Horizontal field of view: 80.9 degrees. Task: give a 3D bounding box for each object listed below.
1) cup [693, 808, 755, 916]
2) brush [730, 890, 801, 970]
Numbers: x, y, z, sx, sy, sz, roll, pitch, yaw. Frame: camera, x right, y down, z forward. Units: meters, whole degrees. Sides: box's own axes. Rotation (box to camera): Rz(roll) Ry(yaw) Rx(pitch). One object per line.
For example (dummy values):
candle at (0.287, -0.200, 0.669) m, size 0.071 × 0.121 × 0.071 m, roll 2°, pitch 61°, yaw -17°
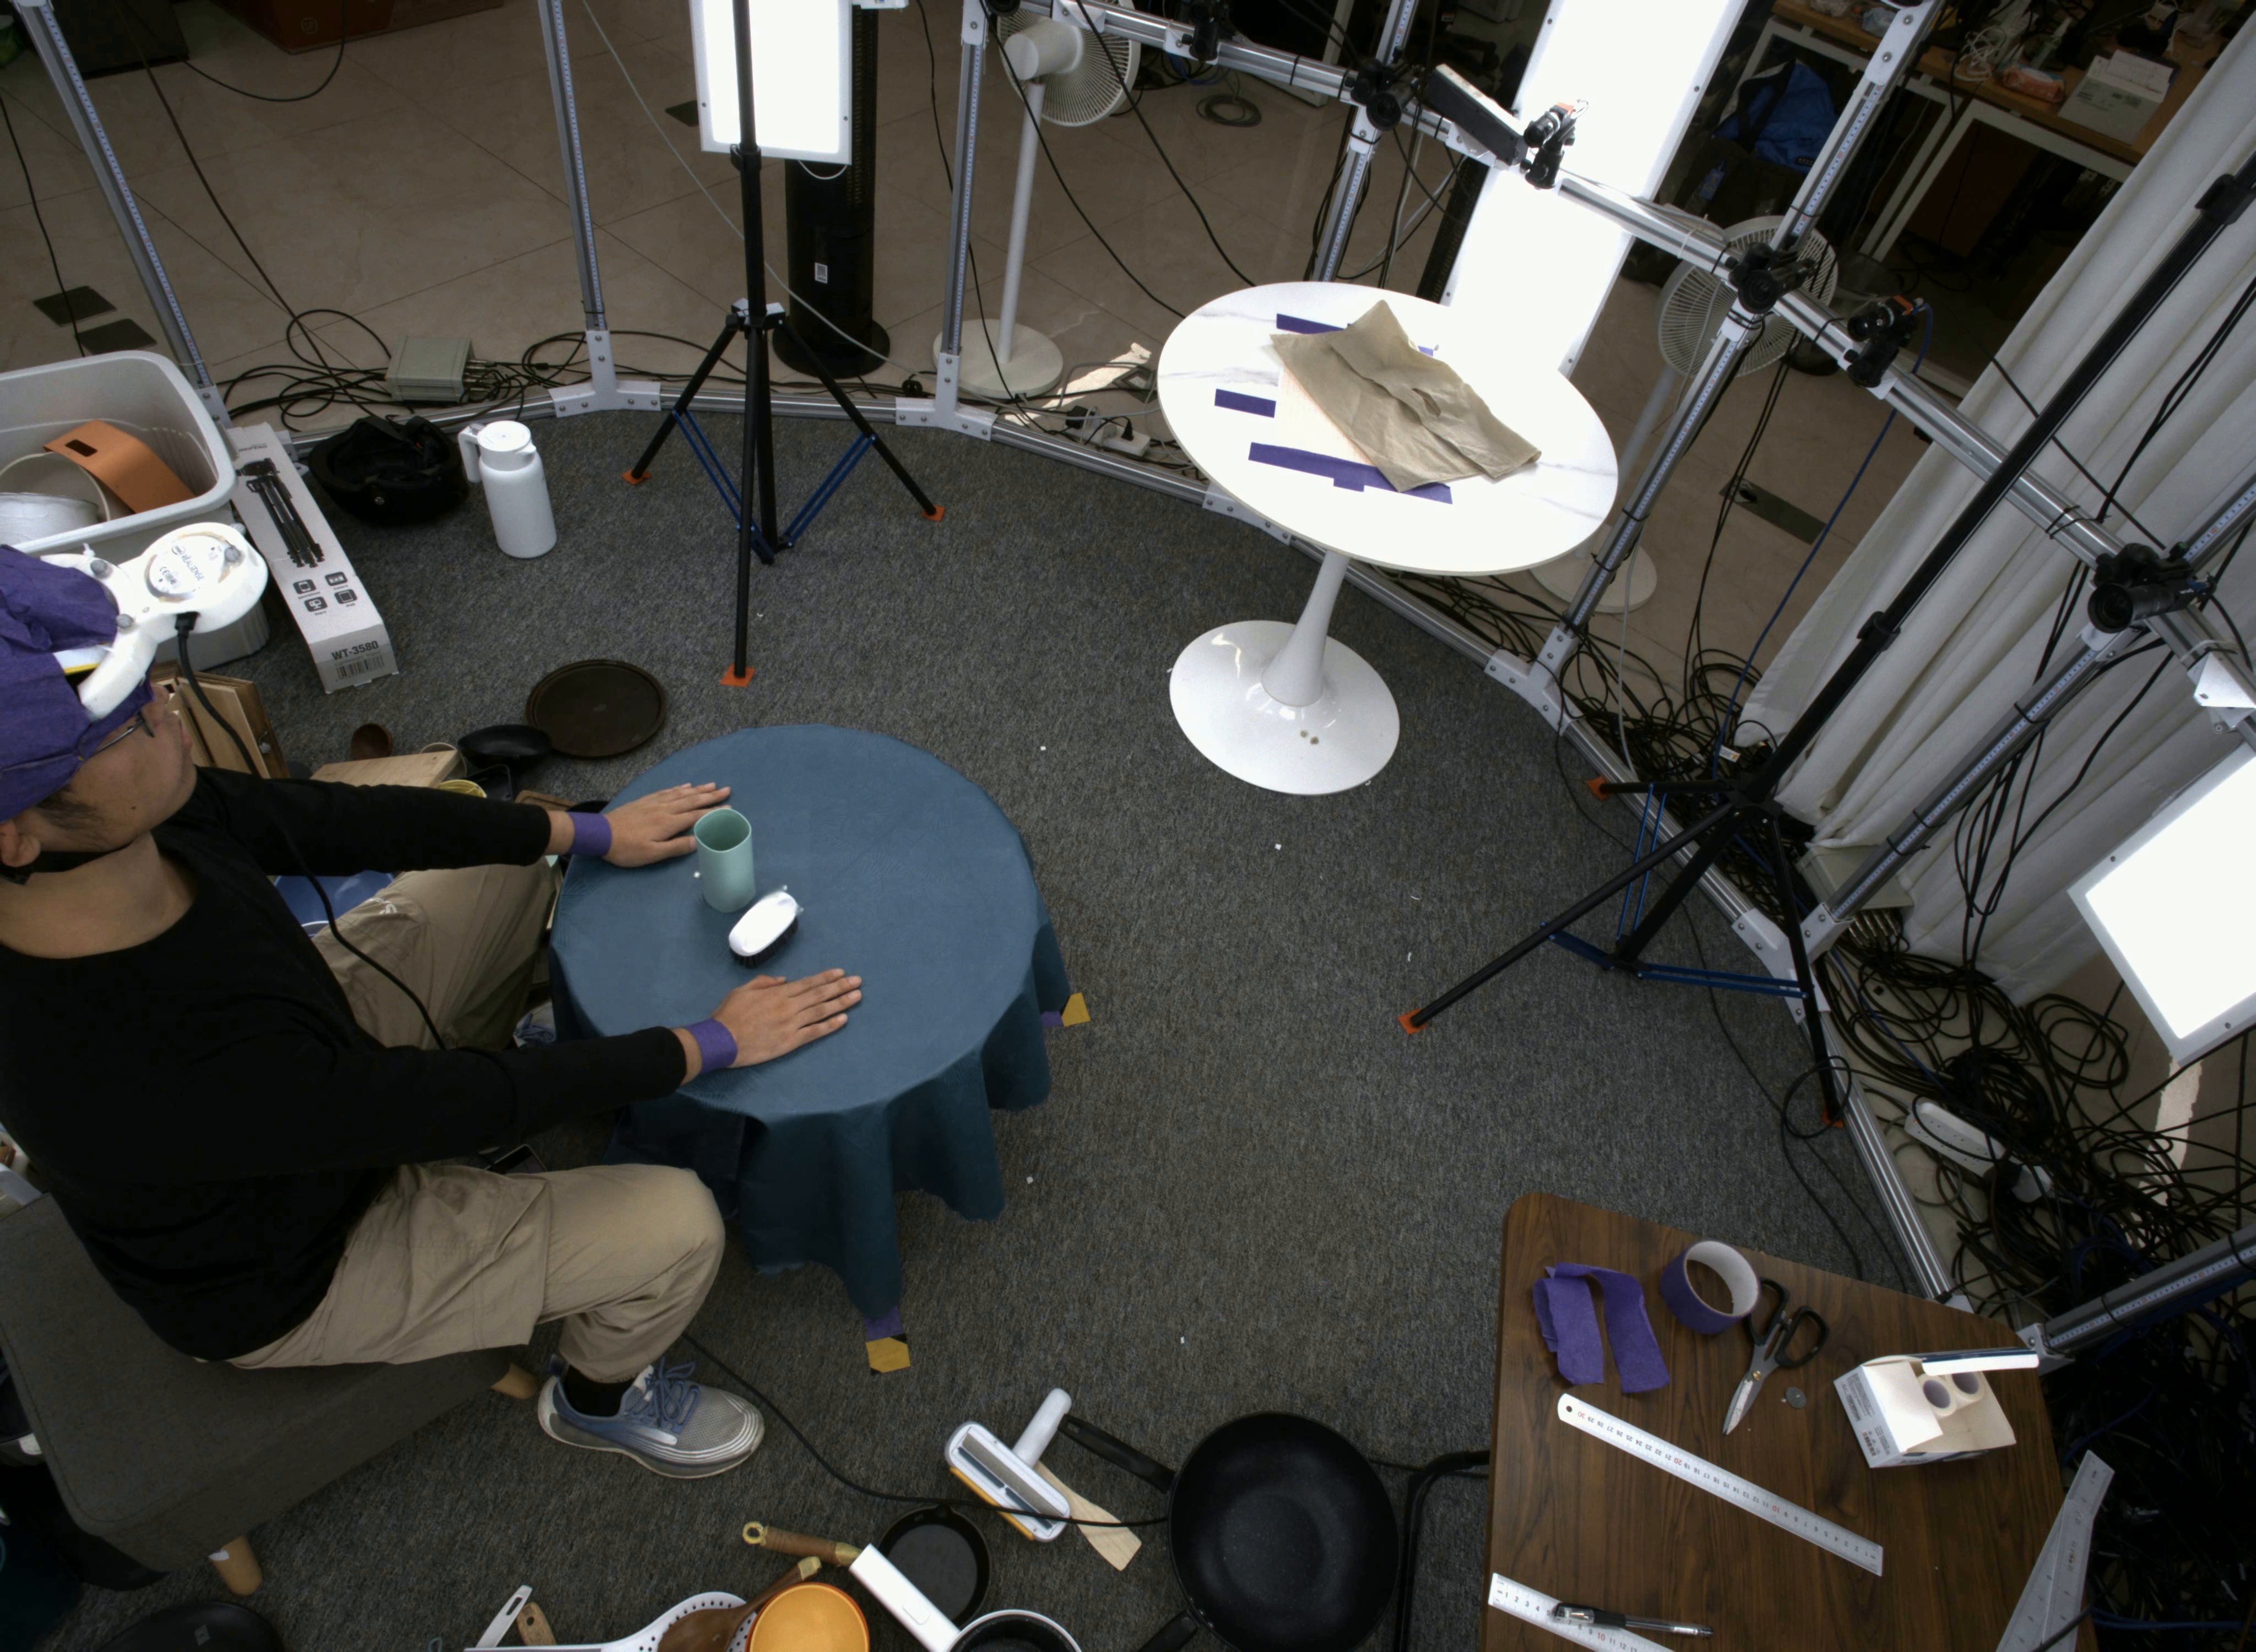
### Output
cup at (-0.497, 0.045, 1.596) m, size 0.066 × 0.135 × 0.065 m, roll 7°, pitch 51°, yaw -7°
brush at (-0.446, 0.118, 1.586) m, size 0.049 × 0.074 × 0.099 m, roll 32°, pitch 51°, yaw 15°
